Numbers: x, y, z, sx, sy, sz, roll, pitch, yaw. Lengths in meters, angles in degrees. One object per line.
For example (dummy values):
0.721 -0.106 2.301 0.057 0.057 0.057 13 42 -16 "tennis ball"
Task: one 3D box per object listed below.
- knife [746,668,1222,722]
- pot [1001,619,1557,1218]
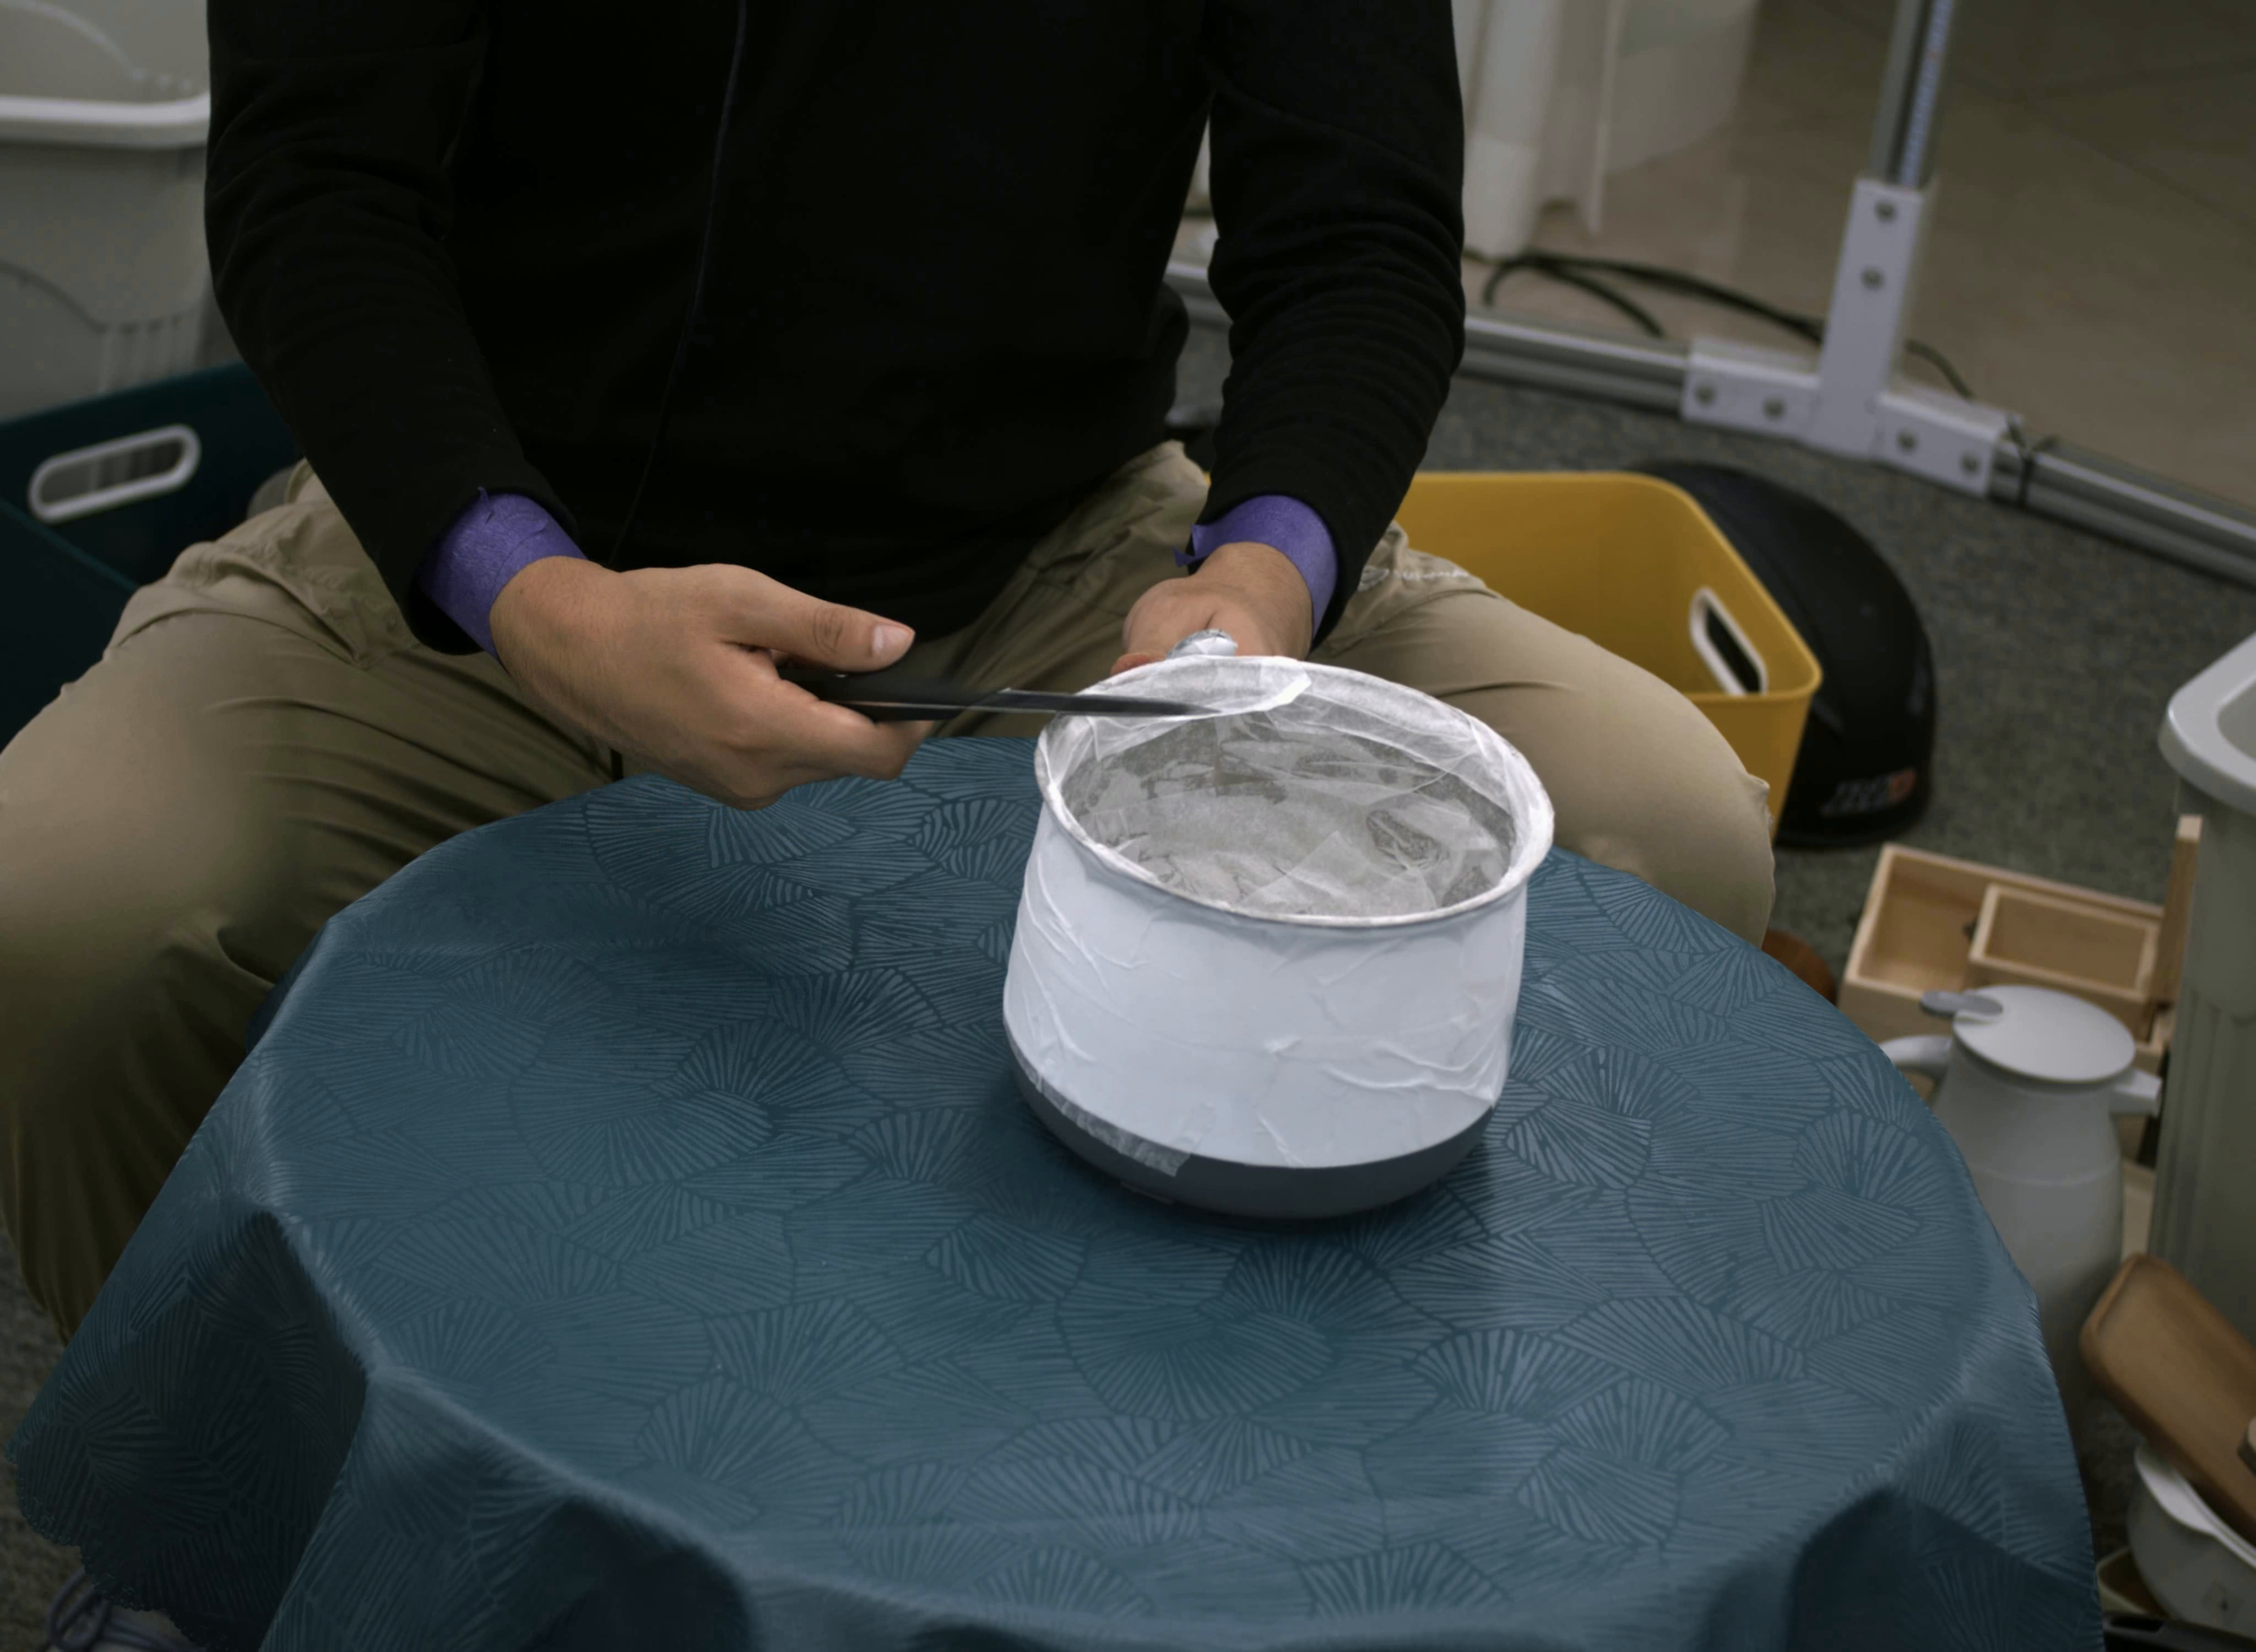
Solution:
-0.054 -0.044 1.837 0.024 0.016 0.239 -21 17 -41 "knife"
0.040 0.024 1.845 0.177 0.136 0.236 -2 32 -18 "pot"
